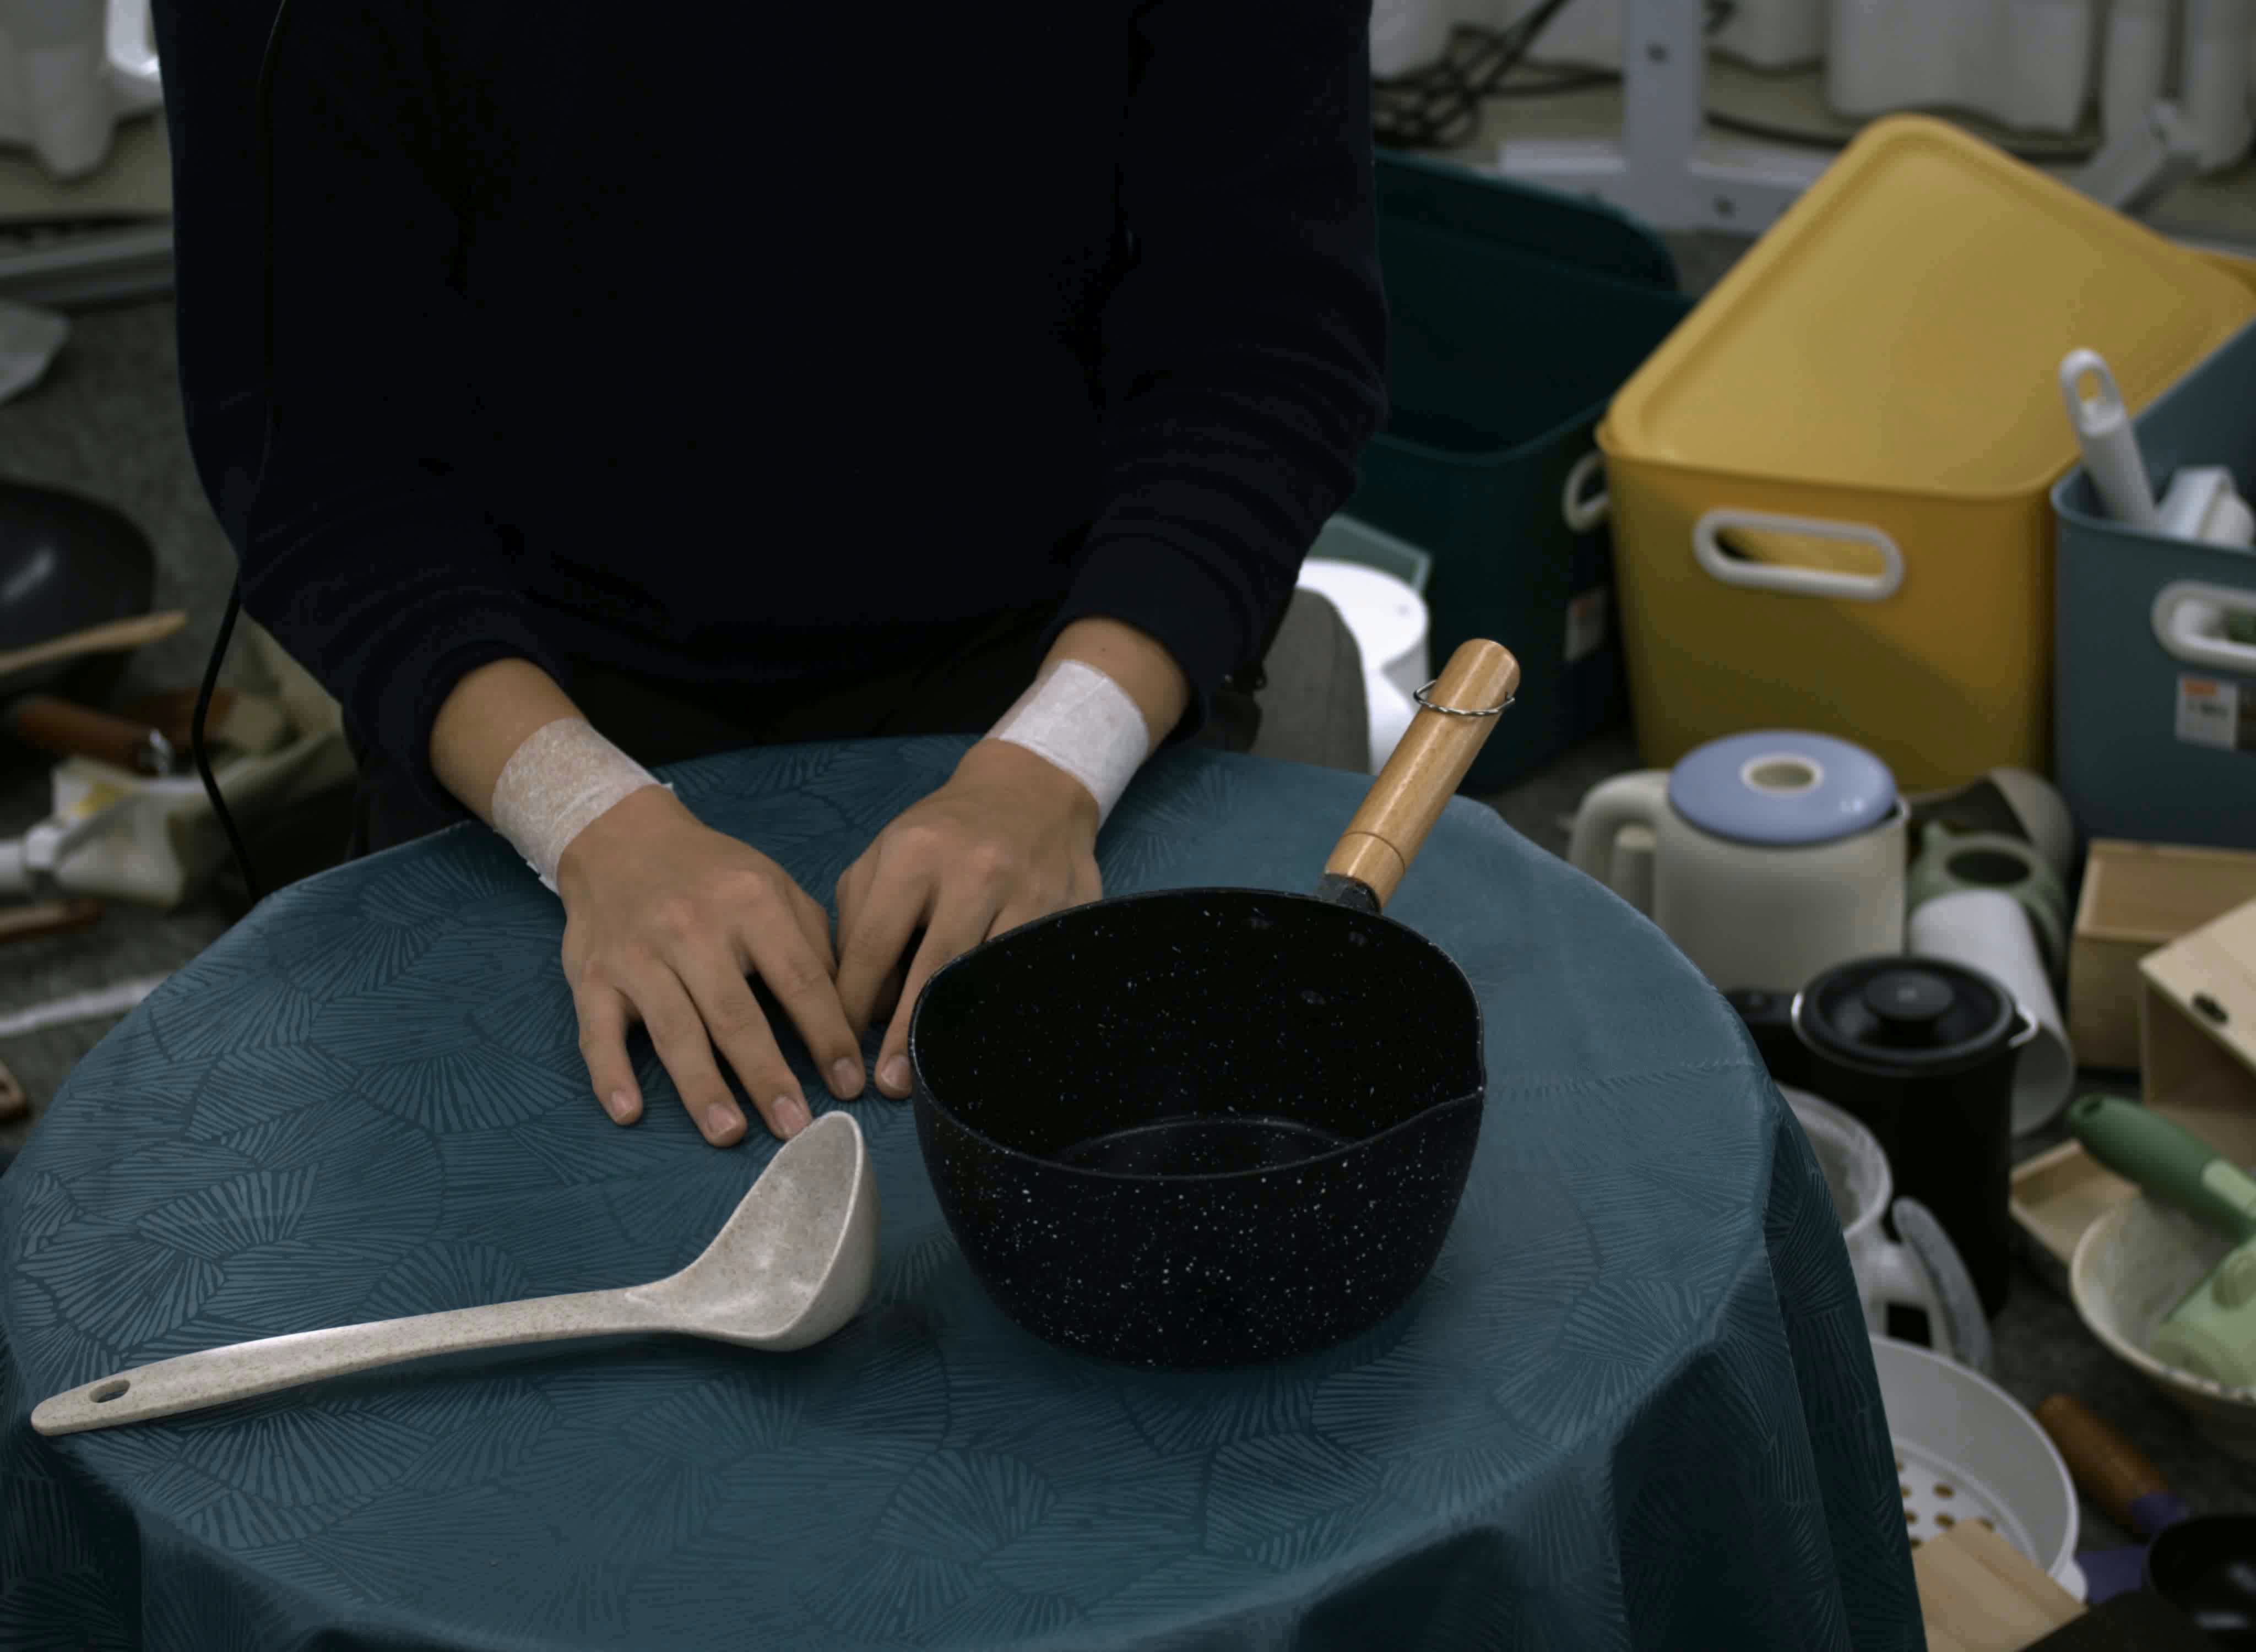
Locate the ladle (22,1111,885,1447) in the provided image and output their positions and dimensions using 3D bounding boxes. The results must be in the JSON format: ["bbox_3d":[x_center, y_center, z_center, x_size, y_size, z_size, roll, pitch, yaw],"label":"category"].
[{"bbox_3d":[-0.212,0.145,1.767,0.274,0.068,0.090,-8,34,-8],"label":"ladle"}]

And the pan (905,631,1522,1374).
[{"bbox_3d":[0.056,0.055,1.870,0.206,0.107,0.349,8,31,23],"label":"pan"}]
